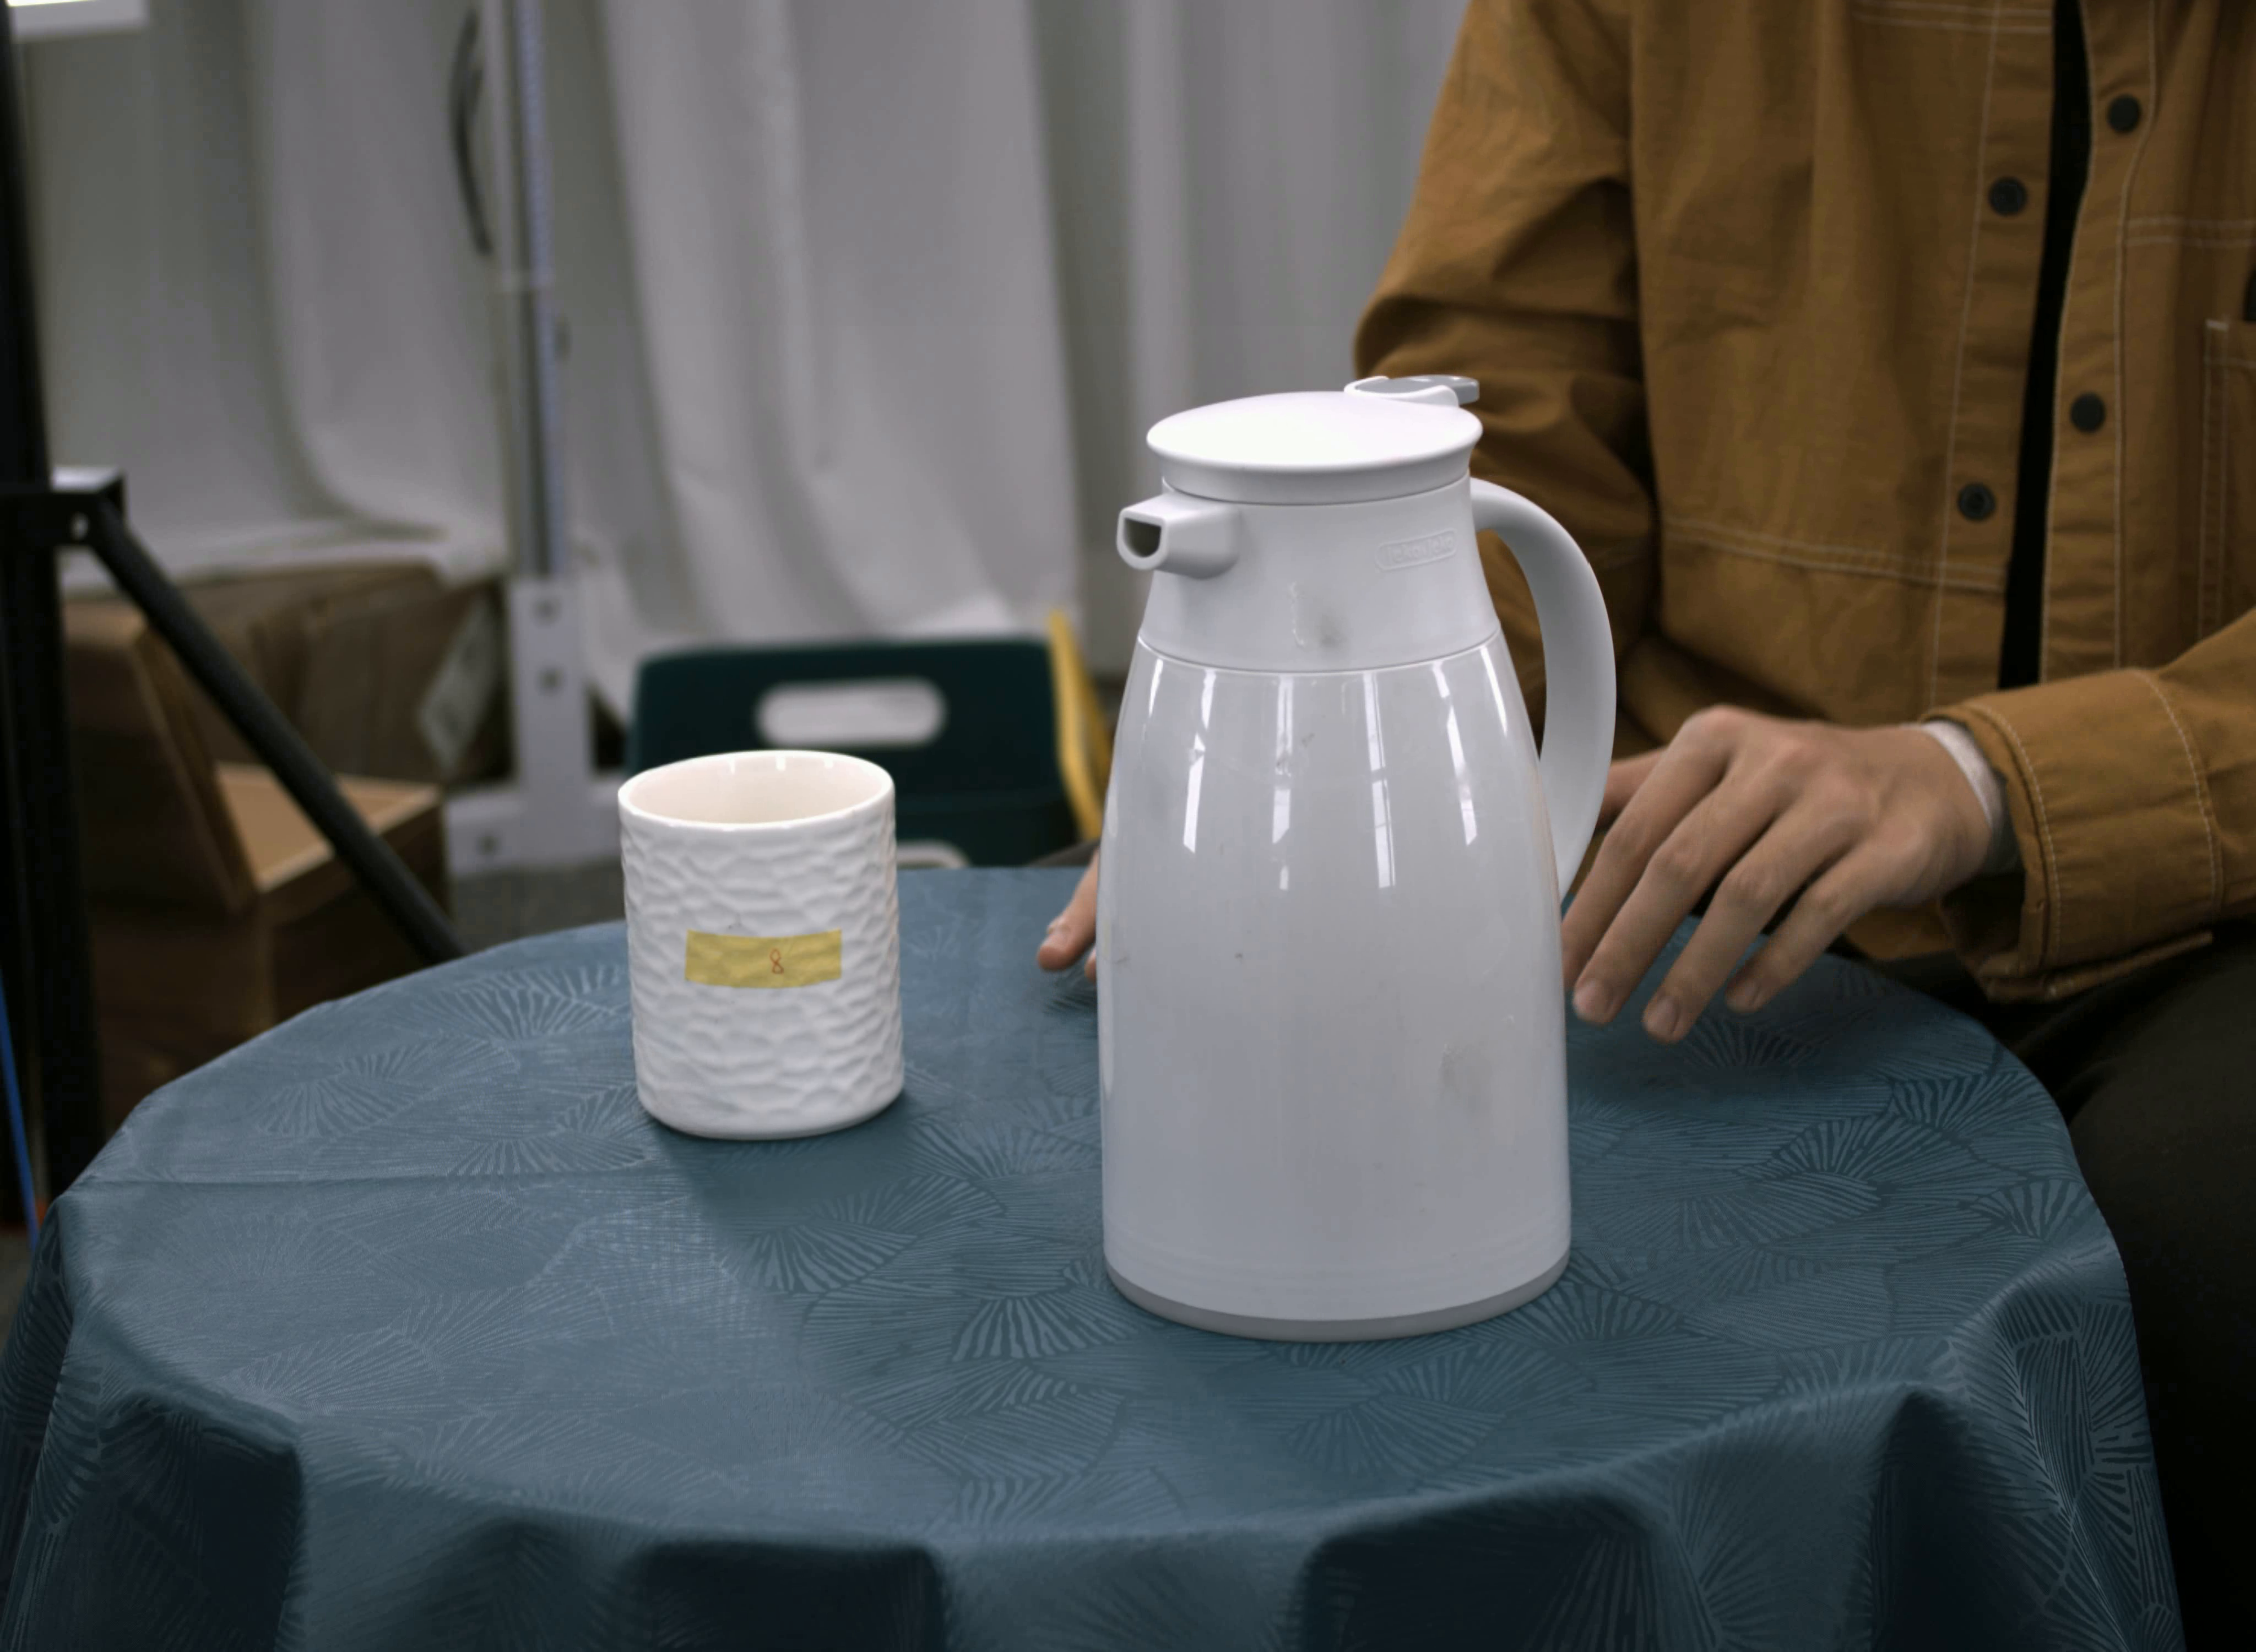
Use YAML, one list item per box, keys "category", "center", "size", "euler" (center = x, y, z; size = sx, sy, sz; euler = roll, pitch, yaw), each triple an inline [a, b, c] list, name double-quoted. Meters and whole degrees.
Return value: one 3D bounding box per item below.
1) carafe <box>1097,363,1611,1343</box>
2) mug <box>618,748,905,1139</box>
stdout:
- category: "carafe"
  center: [0.069, -0.001, 1.473]
  size: [0.164, 0.248, 0.135]
  euler: [-14, 18, -38]
- category: "mug"
  center: [-0.107, 0.032, 1.654]
  size: [0.086, 0.102, 0.117]
  euler: [3, 16, 18]
